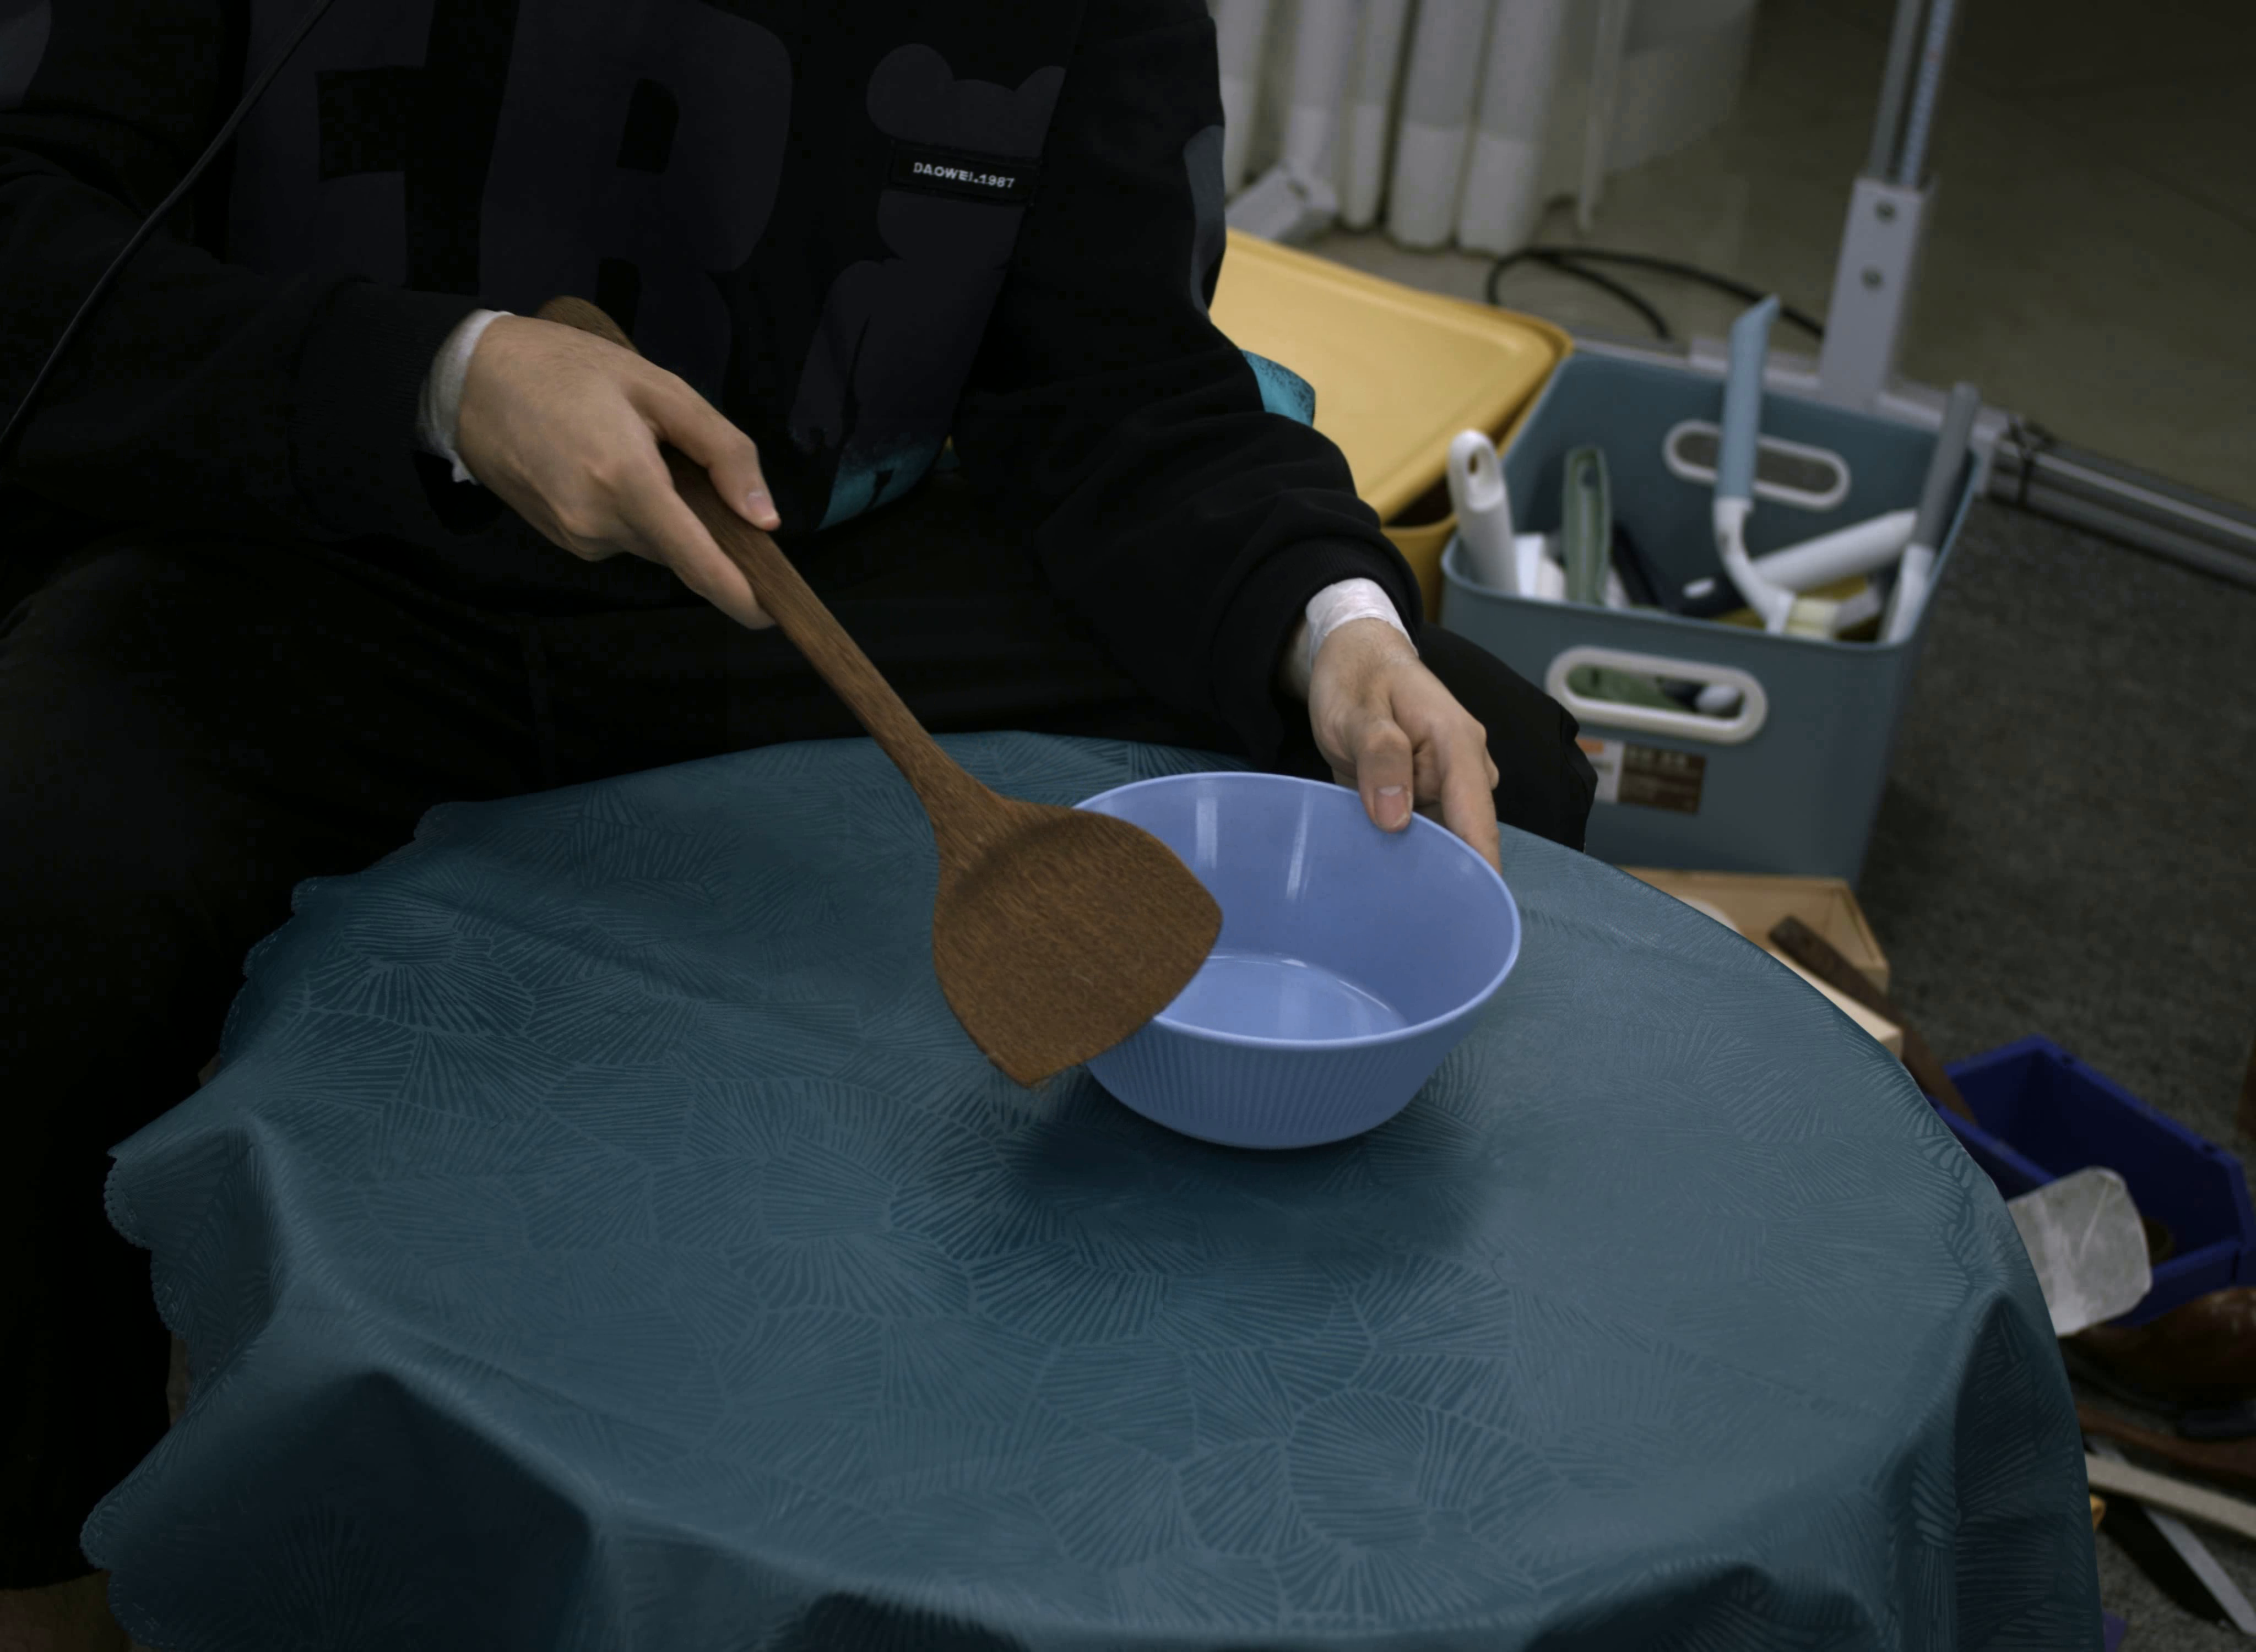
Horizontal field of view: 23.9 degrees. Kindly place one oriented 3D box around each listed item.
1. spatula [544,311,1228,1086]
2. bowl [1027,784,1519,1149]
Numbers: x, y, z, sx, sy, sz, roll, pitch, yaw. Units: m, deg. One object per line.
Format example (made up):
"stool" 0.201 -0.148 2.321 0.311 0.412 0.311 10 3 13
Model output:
"spatula" -0.102 -0.059 1.862 0.096 0.015 0.389 -37 60 -5
"bowl" 0.045 0.055 1.853 0.175 0.070 0.177 5 29 -3
